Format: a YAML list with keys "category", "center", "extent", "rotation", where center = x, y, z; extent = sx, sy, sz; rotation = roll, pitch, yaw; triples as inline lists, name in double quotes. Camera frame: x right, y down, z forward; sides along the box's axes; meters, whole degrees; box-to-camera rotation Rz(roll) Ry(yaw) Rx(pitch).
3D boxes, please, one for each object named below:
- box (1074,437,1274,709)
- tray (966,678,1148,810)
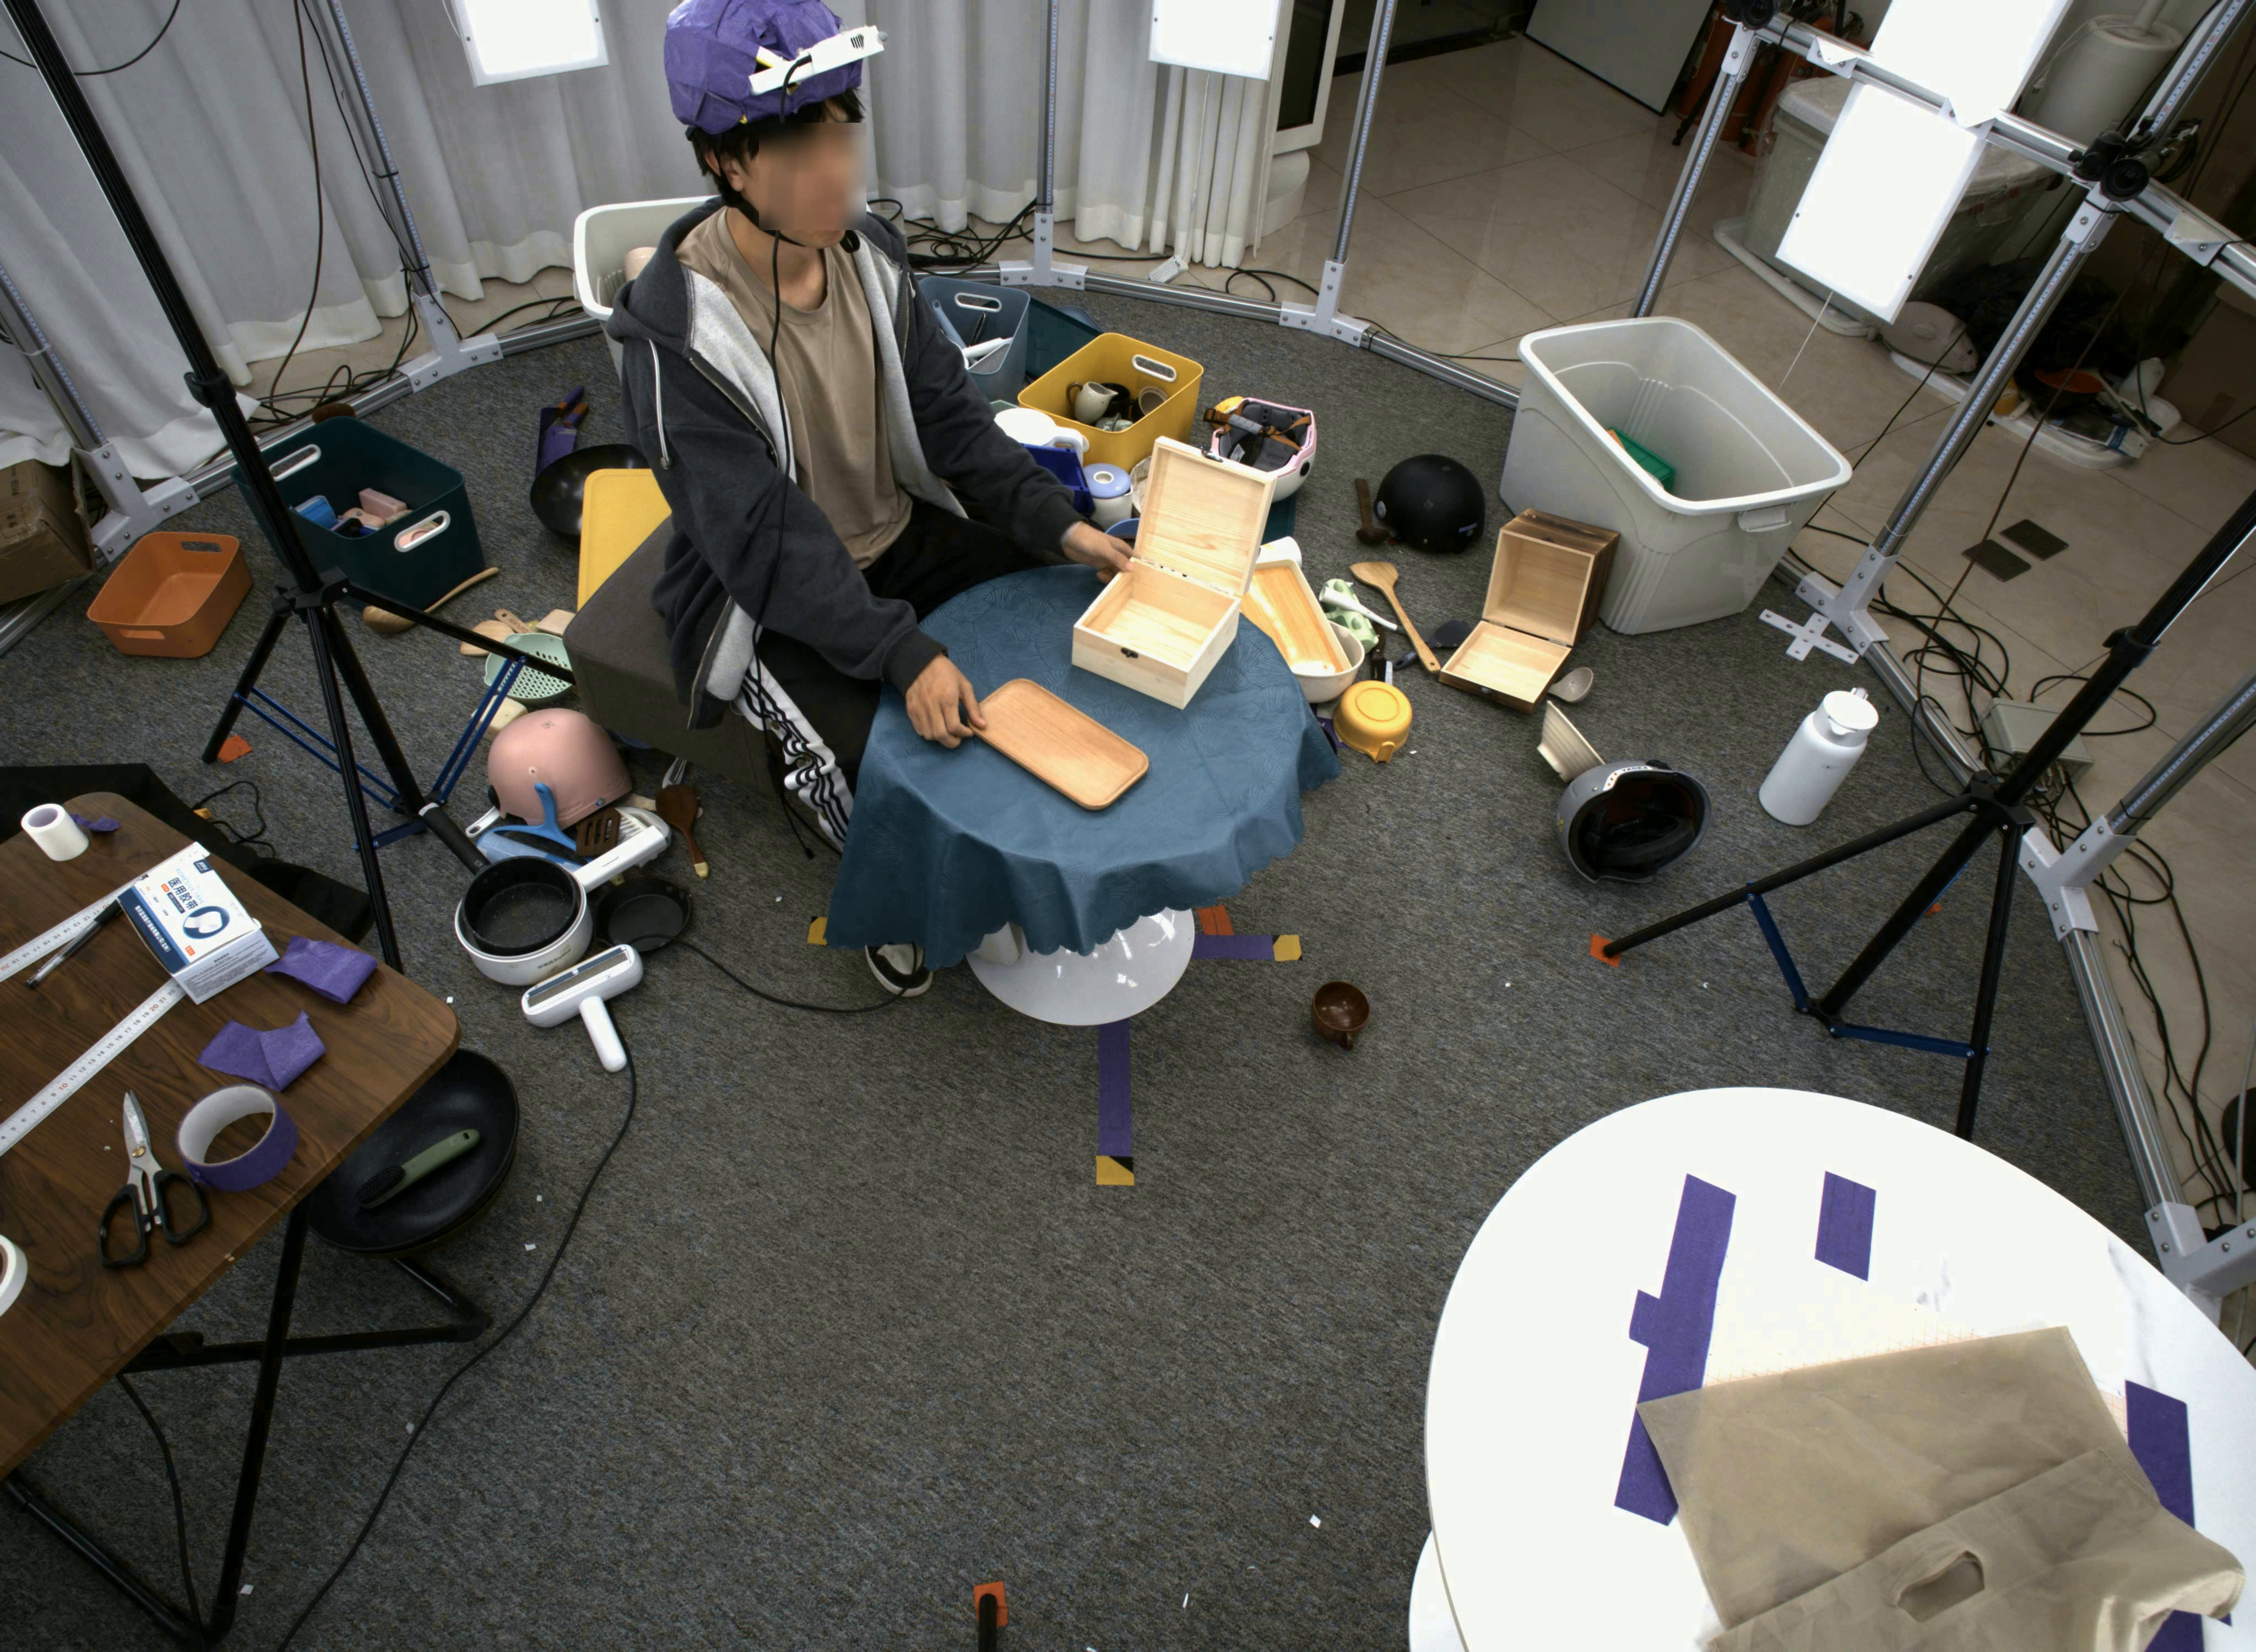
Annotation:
- category: "box"
  center: [0.061, -0.361, 1.828]
  extent: [0.183, 0.247, 0.270]
  rotation: [21, 50, 17]
- category: "tray"
  center: [-0.098, -0.114, 1.746]
  extent: [0.254, 0.022, 0.132]
  rotation: [34, 52, 24]
